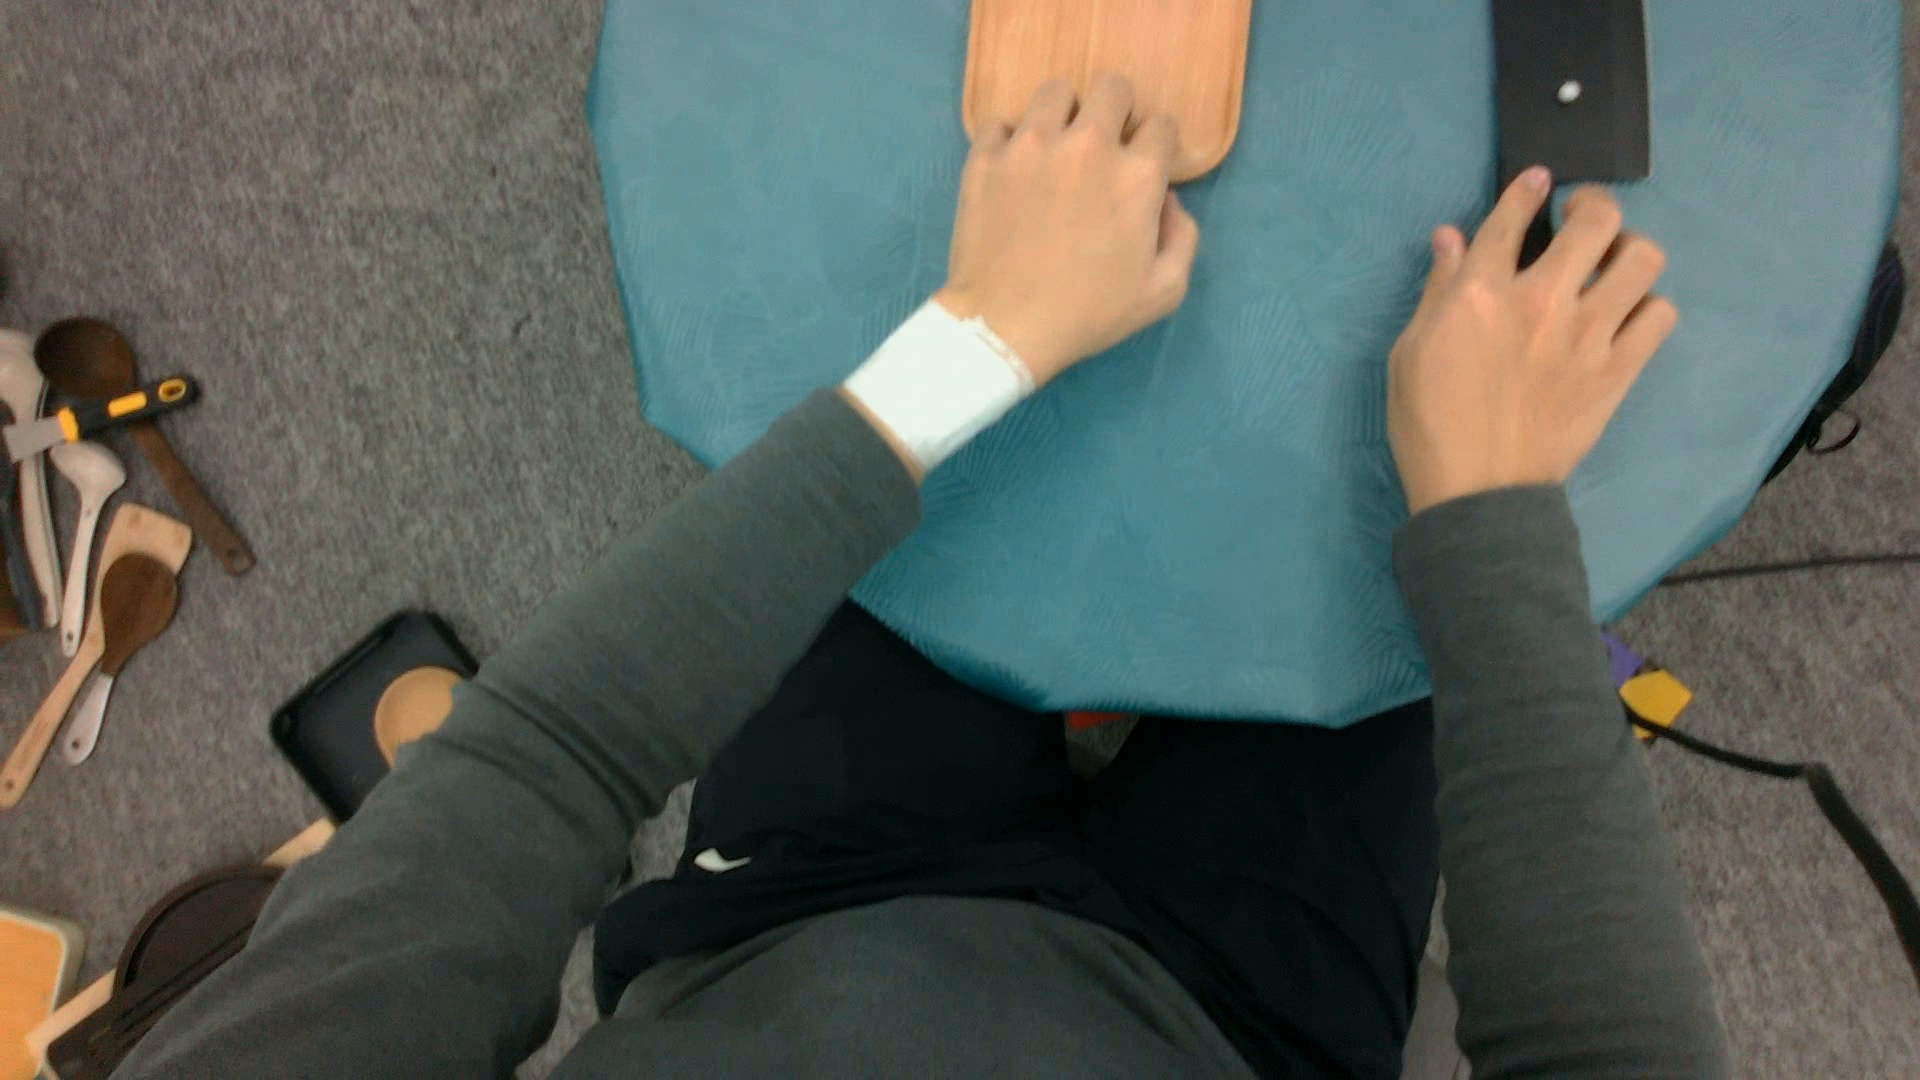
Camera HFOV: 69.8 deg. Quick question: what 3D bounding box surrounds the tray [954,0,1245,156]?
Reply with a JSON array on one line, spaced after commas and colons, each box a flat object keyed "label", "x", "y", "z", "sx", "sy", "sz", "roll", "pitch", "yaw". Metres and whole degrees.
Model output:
[{"label": "tray", "x": 0.072, "y": -0.303, "z": 0.634, "sx": 0.130, "sy": 0.023, "sz": 0.250, "roll": 7, "pitch": 91, "yaw": 8}]

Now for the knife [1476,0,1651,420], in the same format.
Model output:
[{"label": "knife", "x": 0.267, "y": -0.205, "z": 0.615, "sx": 0.081, "sy": 0.021, "sz": 0.302, "roll": 4, "pitch": 88, "yaw": 6}]
